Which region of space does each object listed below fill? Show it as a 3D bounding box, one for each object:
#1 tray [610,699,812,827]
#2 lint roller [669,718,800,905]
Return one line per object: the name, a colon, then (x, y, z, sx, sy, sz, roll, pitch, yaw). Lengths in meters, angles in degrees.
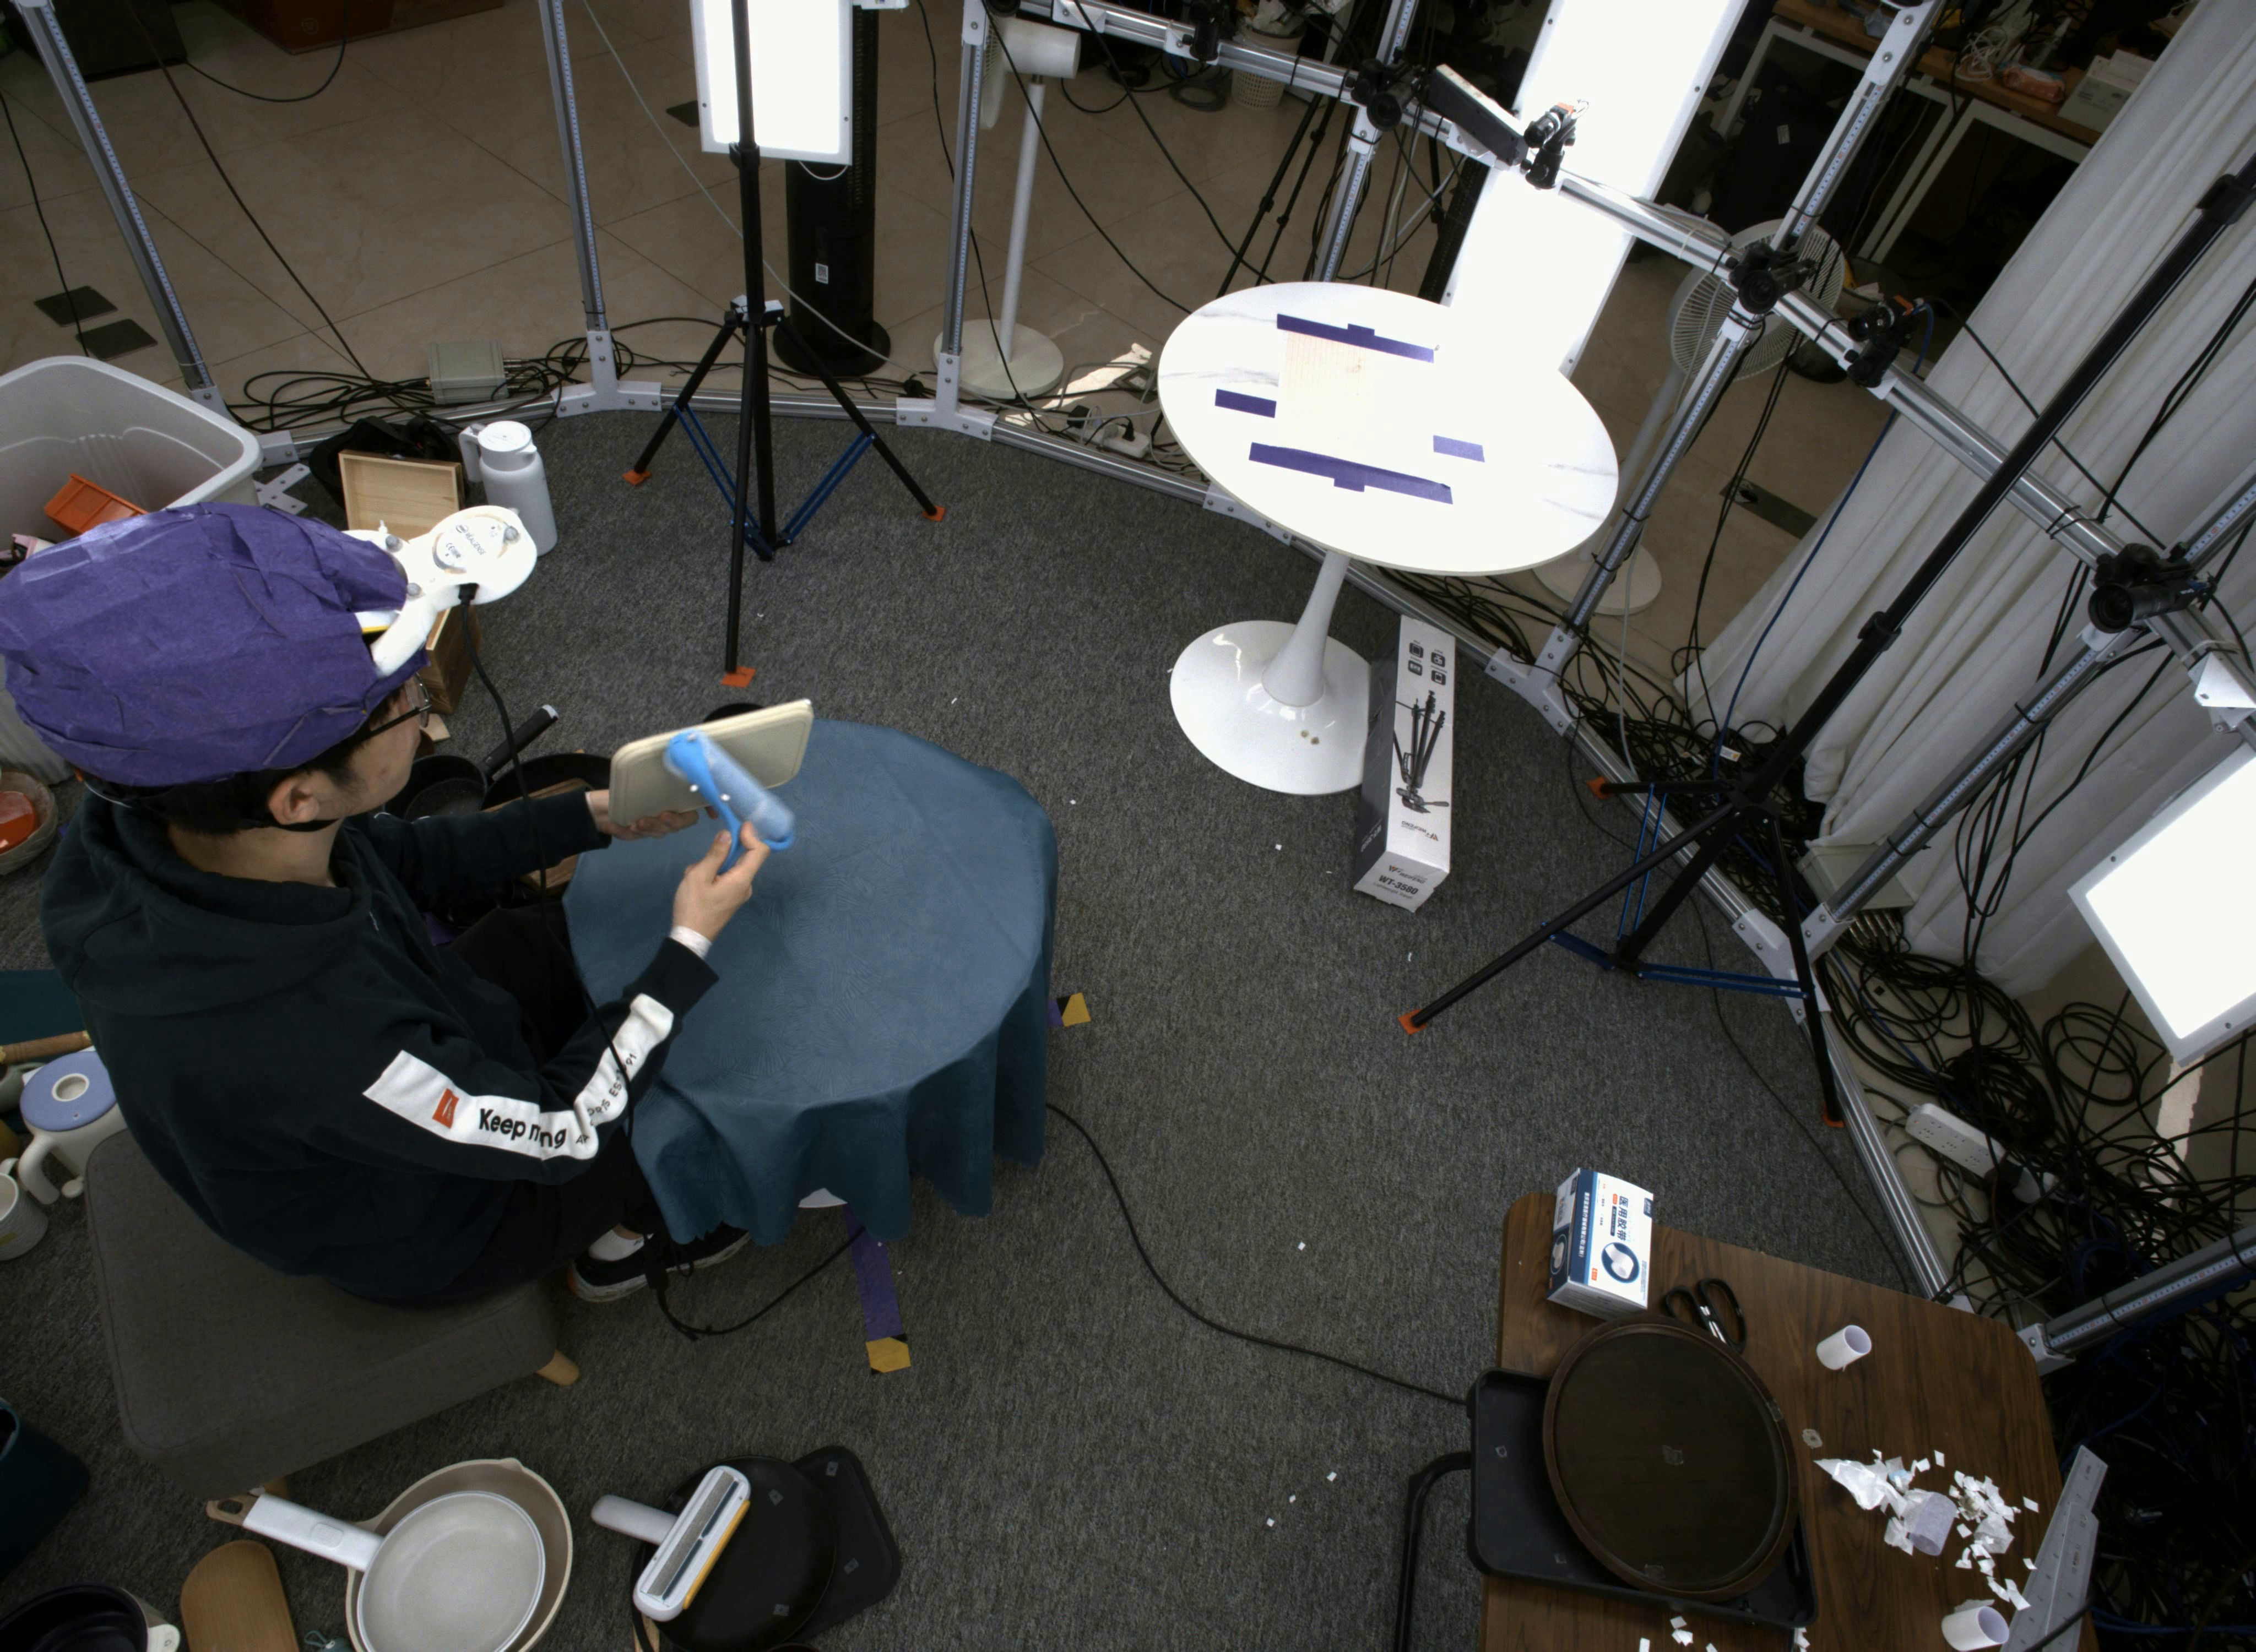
tray: (-0.483, -0.071, 1.496, 0.241, 0.172, 0.017, -19, 68, -32)
lint roller: (-0.454, 0.004, 1.446, 0.066, 0.236, 0.180, 5, 70, 19)
